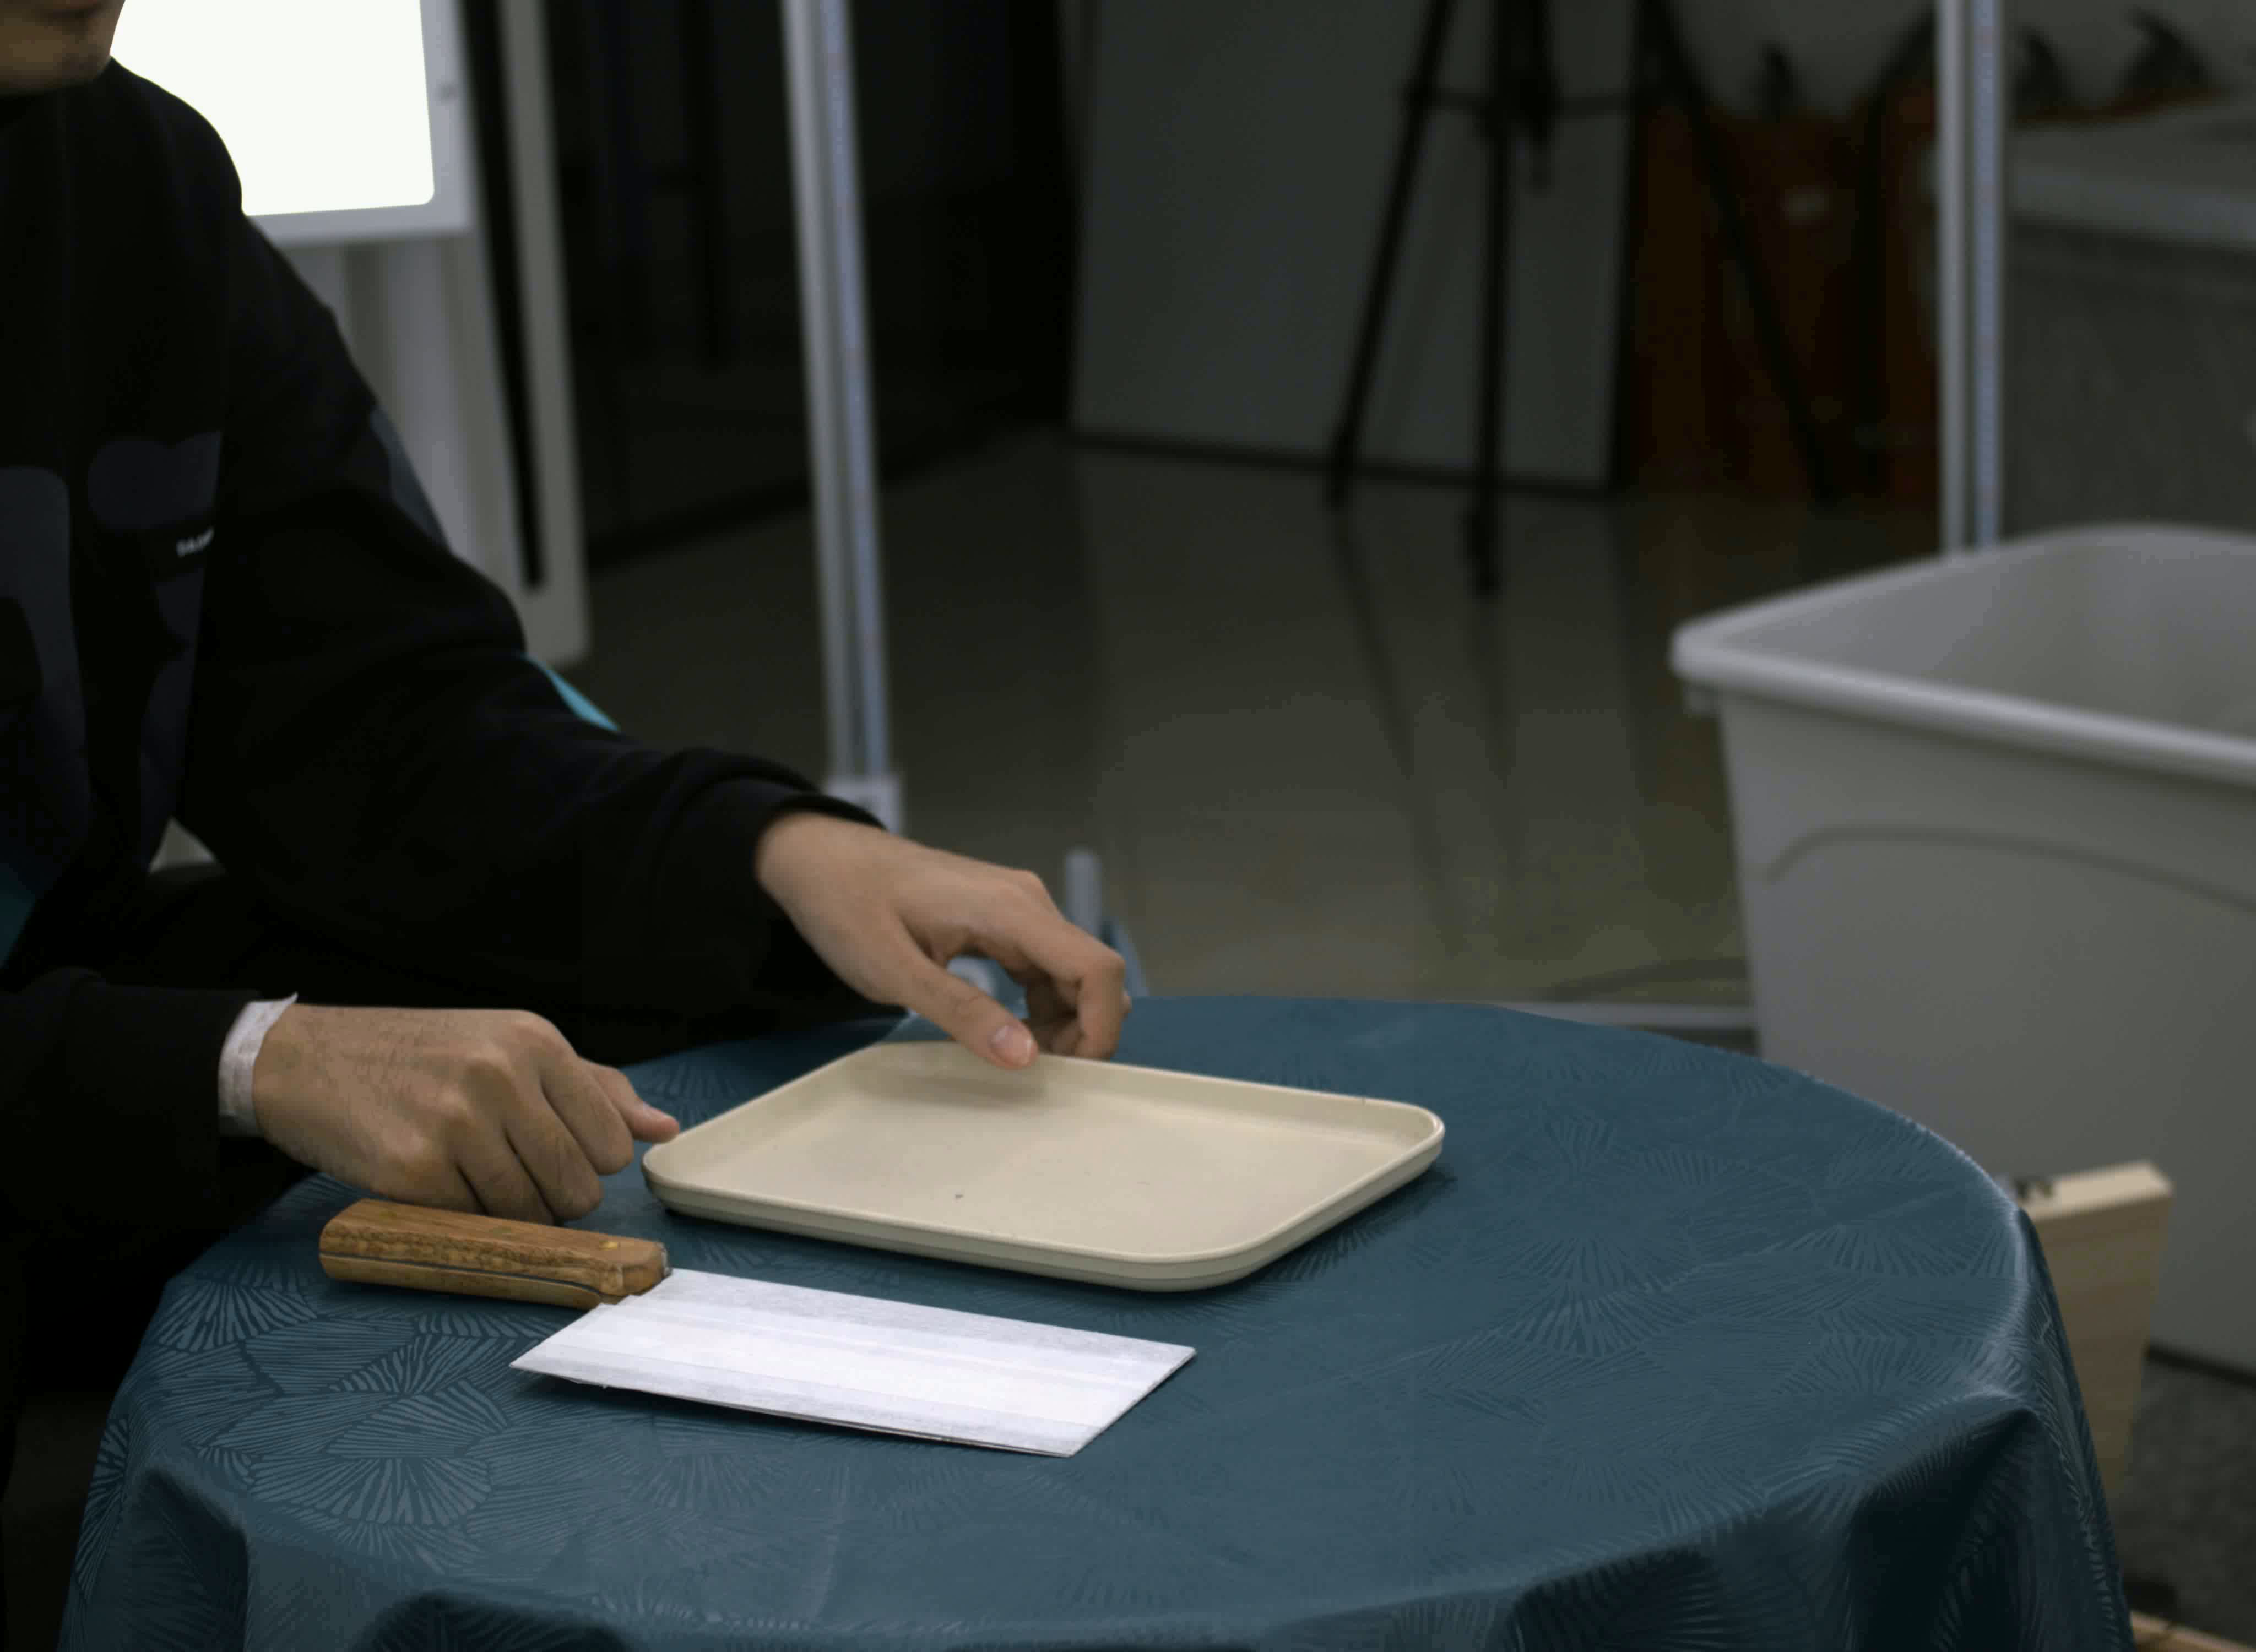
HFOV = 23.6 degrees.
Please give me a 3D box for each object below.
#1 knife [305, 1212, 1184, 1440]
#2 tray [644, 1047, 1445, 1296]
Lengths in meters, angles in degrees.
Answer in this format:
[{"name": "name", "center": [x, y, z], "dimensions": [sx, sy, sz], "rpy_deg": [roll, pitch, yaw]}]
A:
[{"name": "knife", "center": [-0.132, 0.155, 1.642], "dimensions": [0.306, 0.021, 0.091], "rpy_deg": [6, 18, 27]}, {"name": "tray", "center": [-0.027, 0.113, 1.774], "dimensions": [0.241, 0.017, 0.168], "rpy_deg": [5, 17, 34]}]
